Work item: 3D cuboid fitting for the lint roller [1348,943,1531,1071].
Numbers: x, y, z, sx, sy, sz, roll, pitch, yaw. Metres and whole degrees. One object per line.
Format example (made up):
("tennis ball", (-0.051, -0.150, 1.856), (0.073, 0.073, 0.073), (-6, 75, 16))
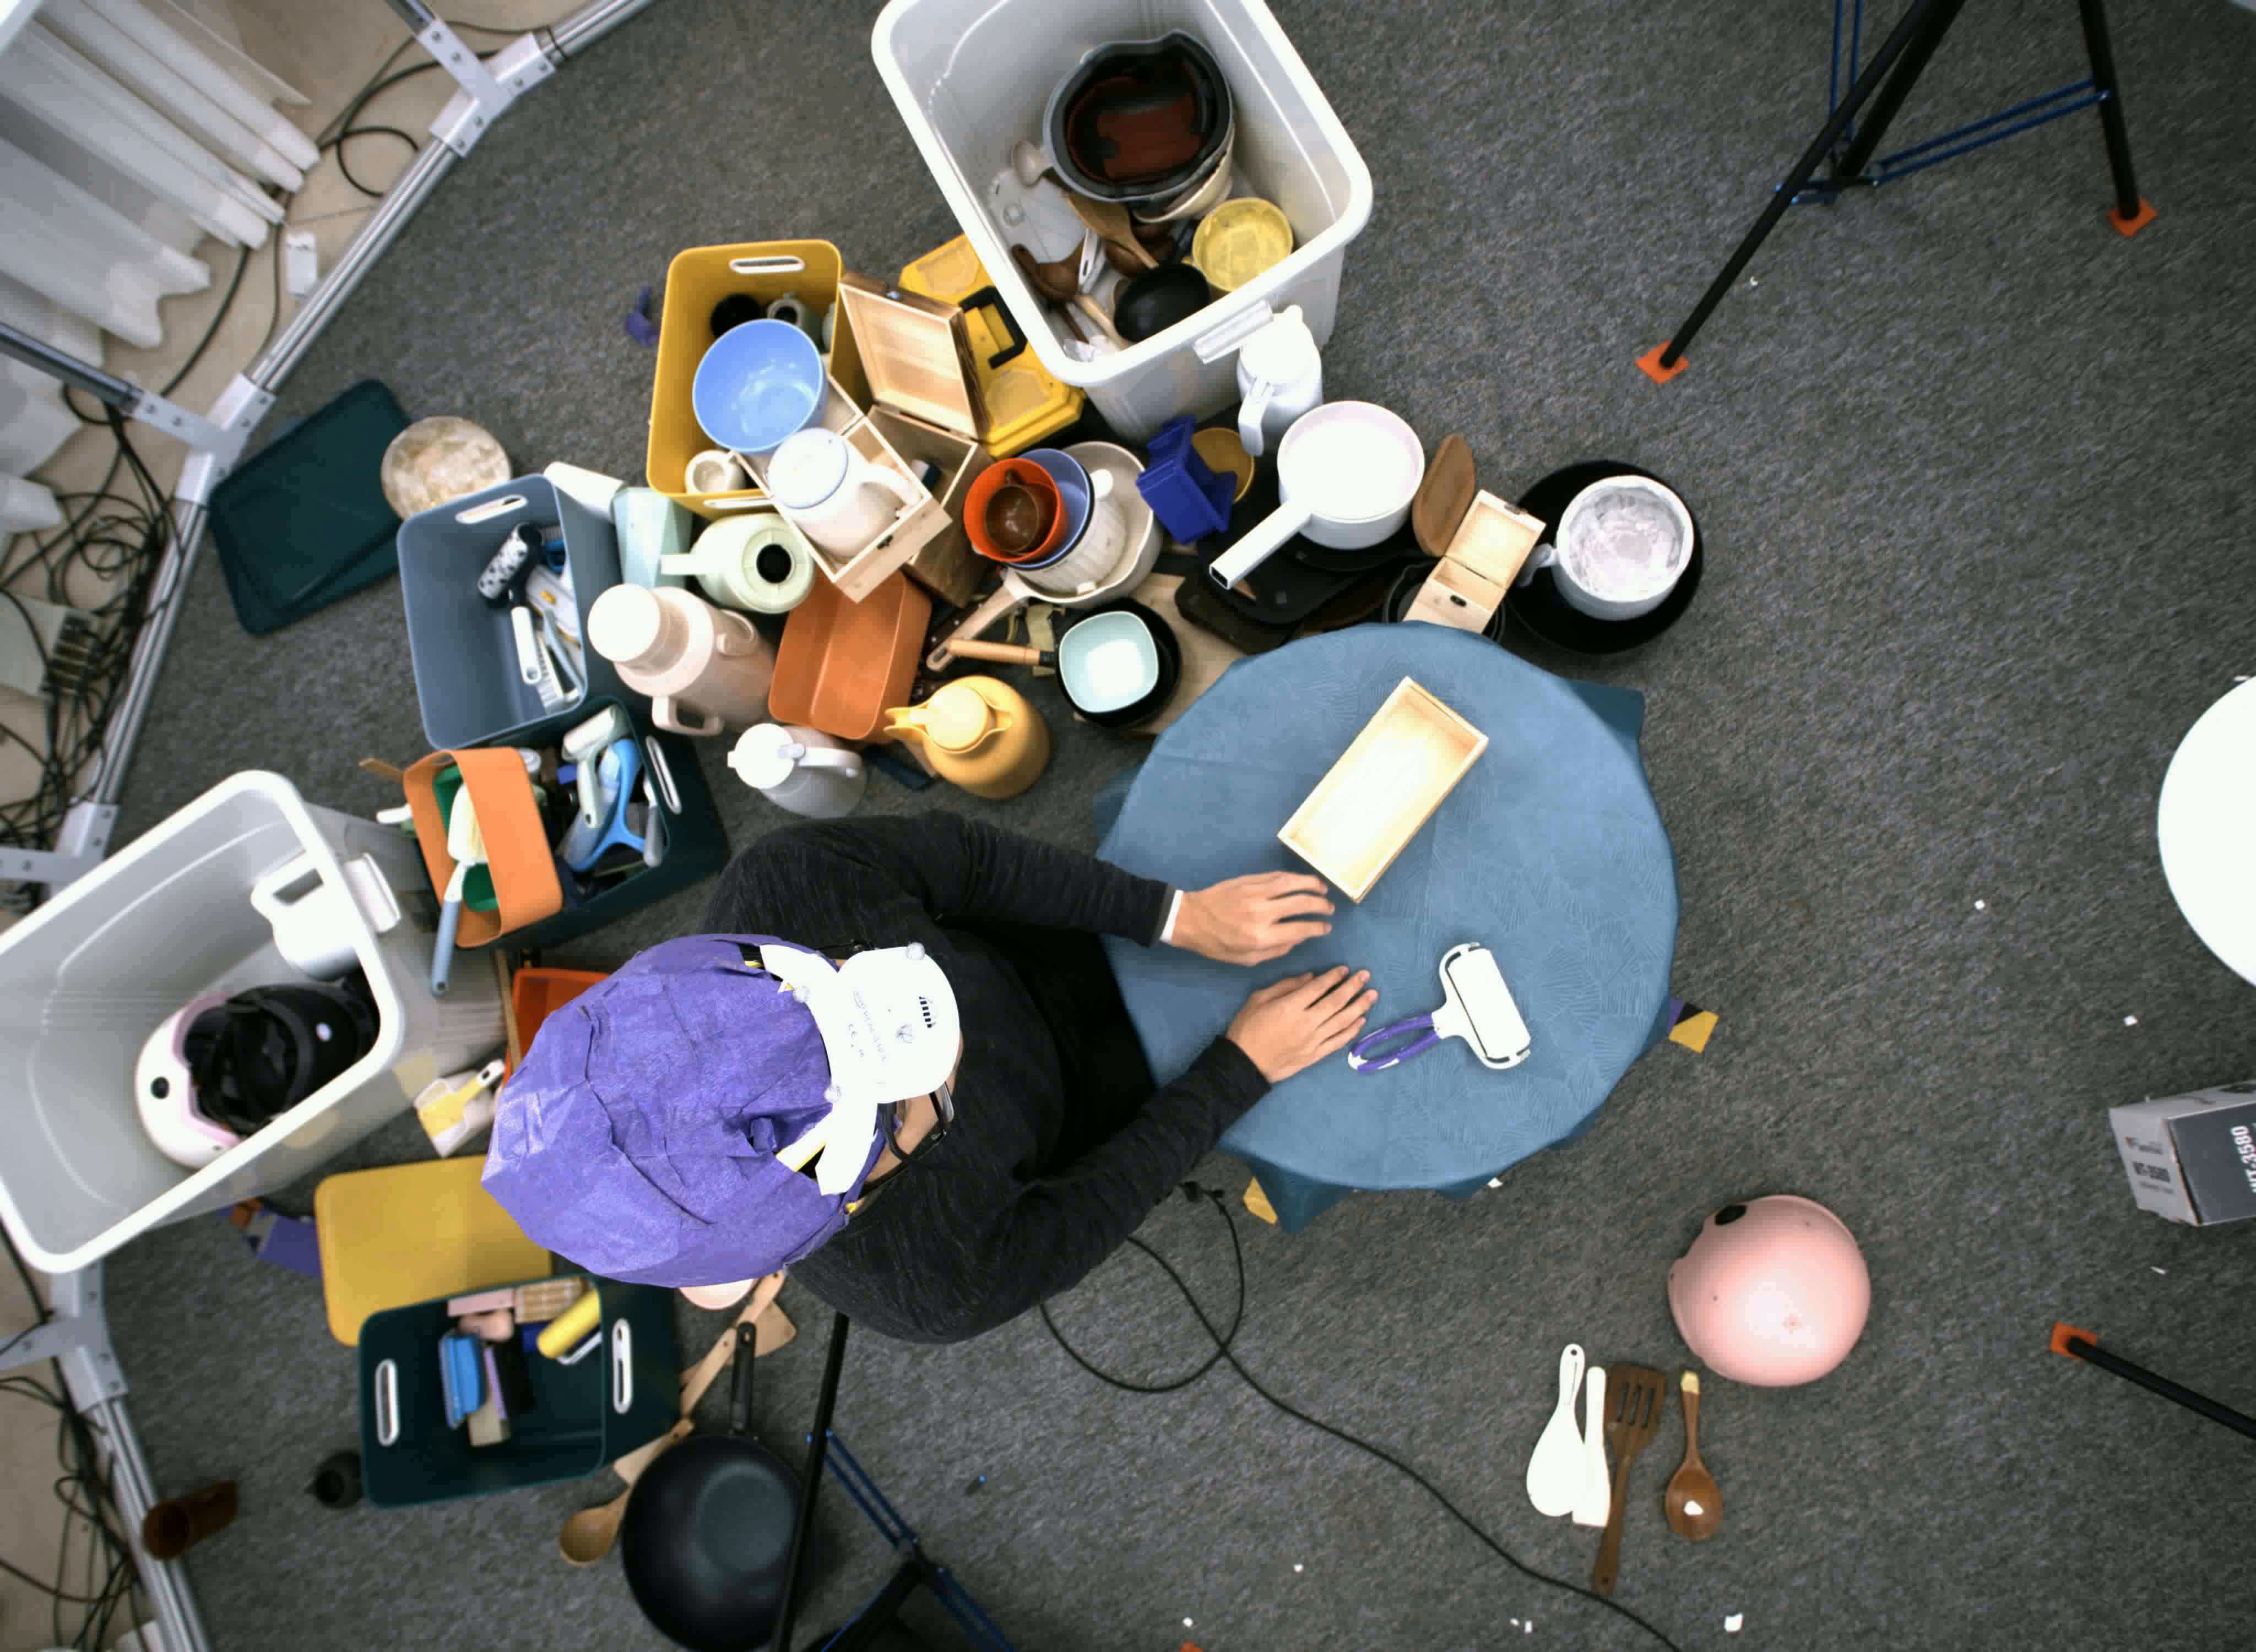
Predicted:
("lint roller", (0.310, 0.206, 1.421), (0.182, 0.050, 0.132), (-23, 84, 7))

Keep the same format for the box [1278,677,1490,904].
("box", (0.264, -0.036, 1.427), (0.107, 0.080, 0.212), (39, 95, 10))
